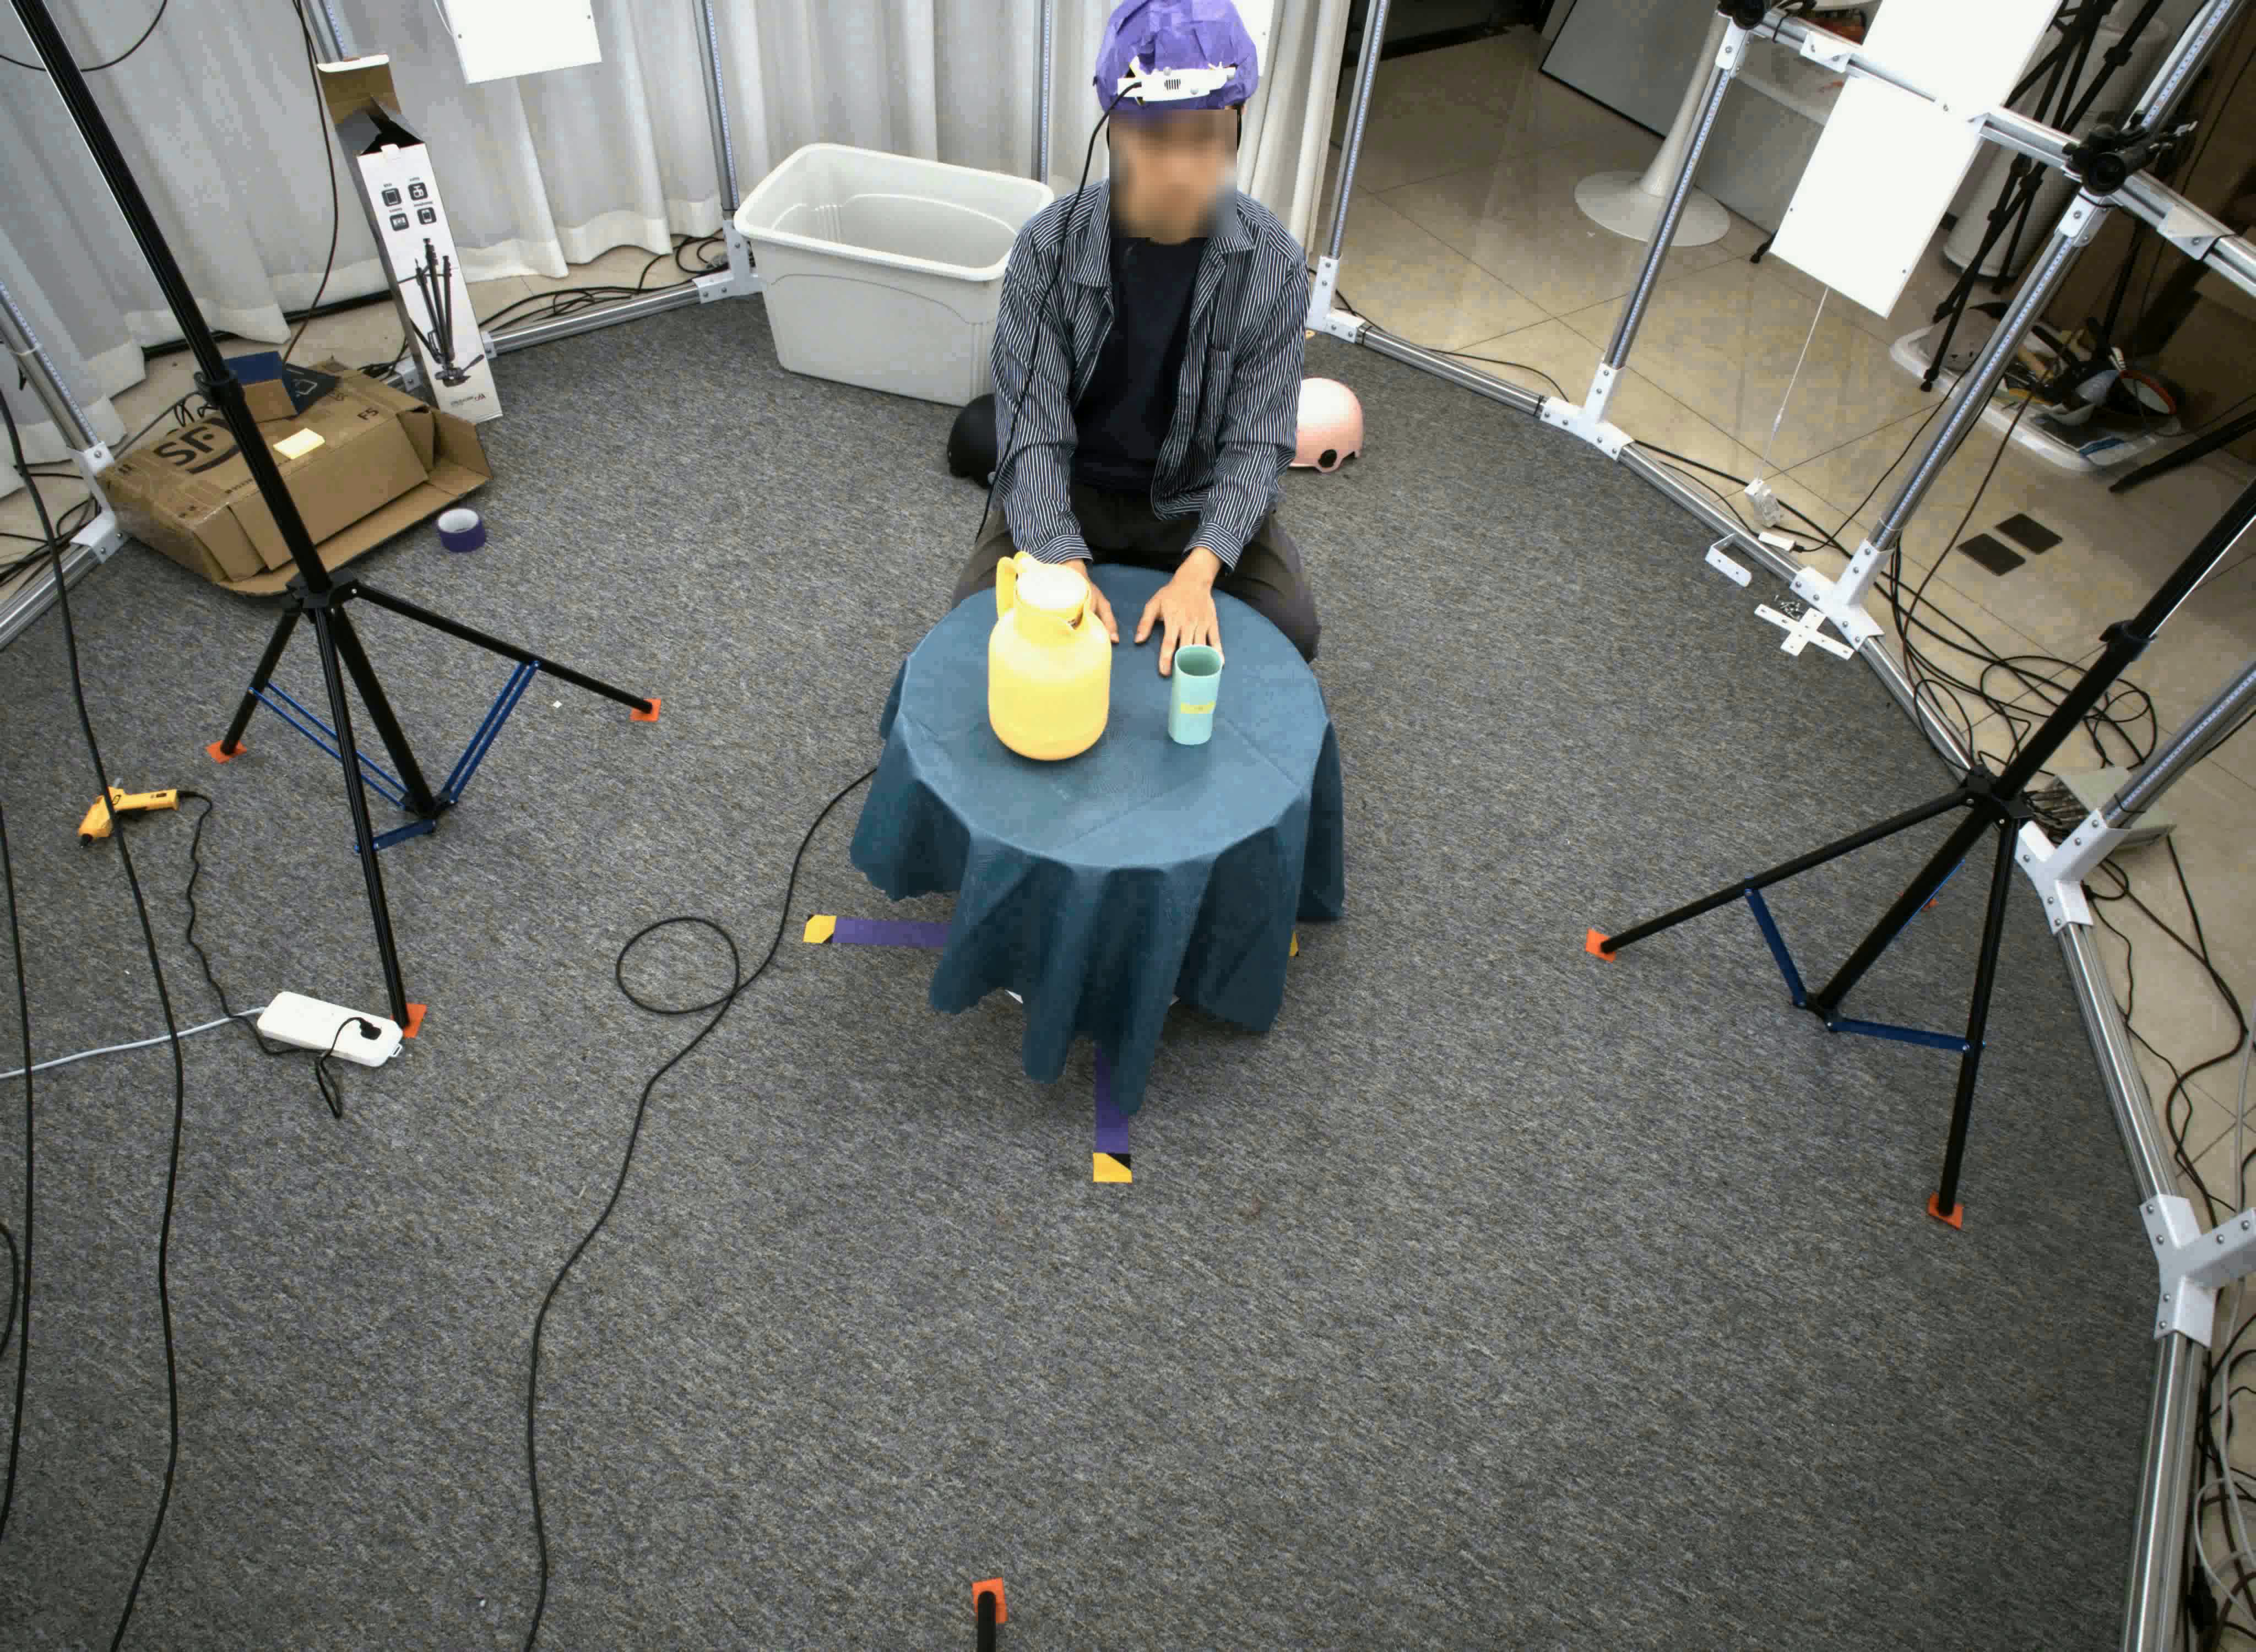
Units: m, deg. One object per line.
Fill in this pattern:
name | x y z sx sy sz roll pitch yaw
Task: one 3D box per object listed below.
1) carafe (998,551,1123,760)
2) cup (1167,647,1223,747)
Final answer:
carafe | -0.098 -0.231 1.681 0.164 0.254 0.206 -26 57 -26
cup | 0.089 -0.175 1.739 0.066 0.129 0.068 3 49 -3
